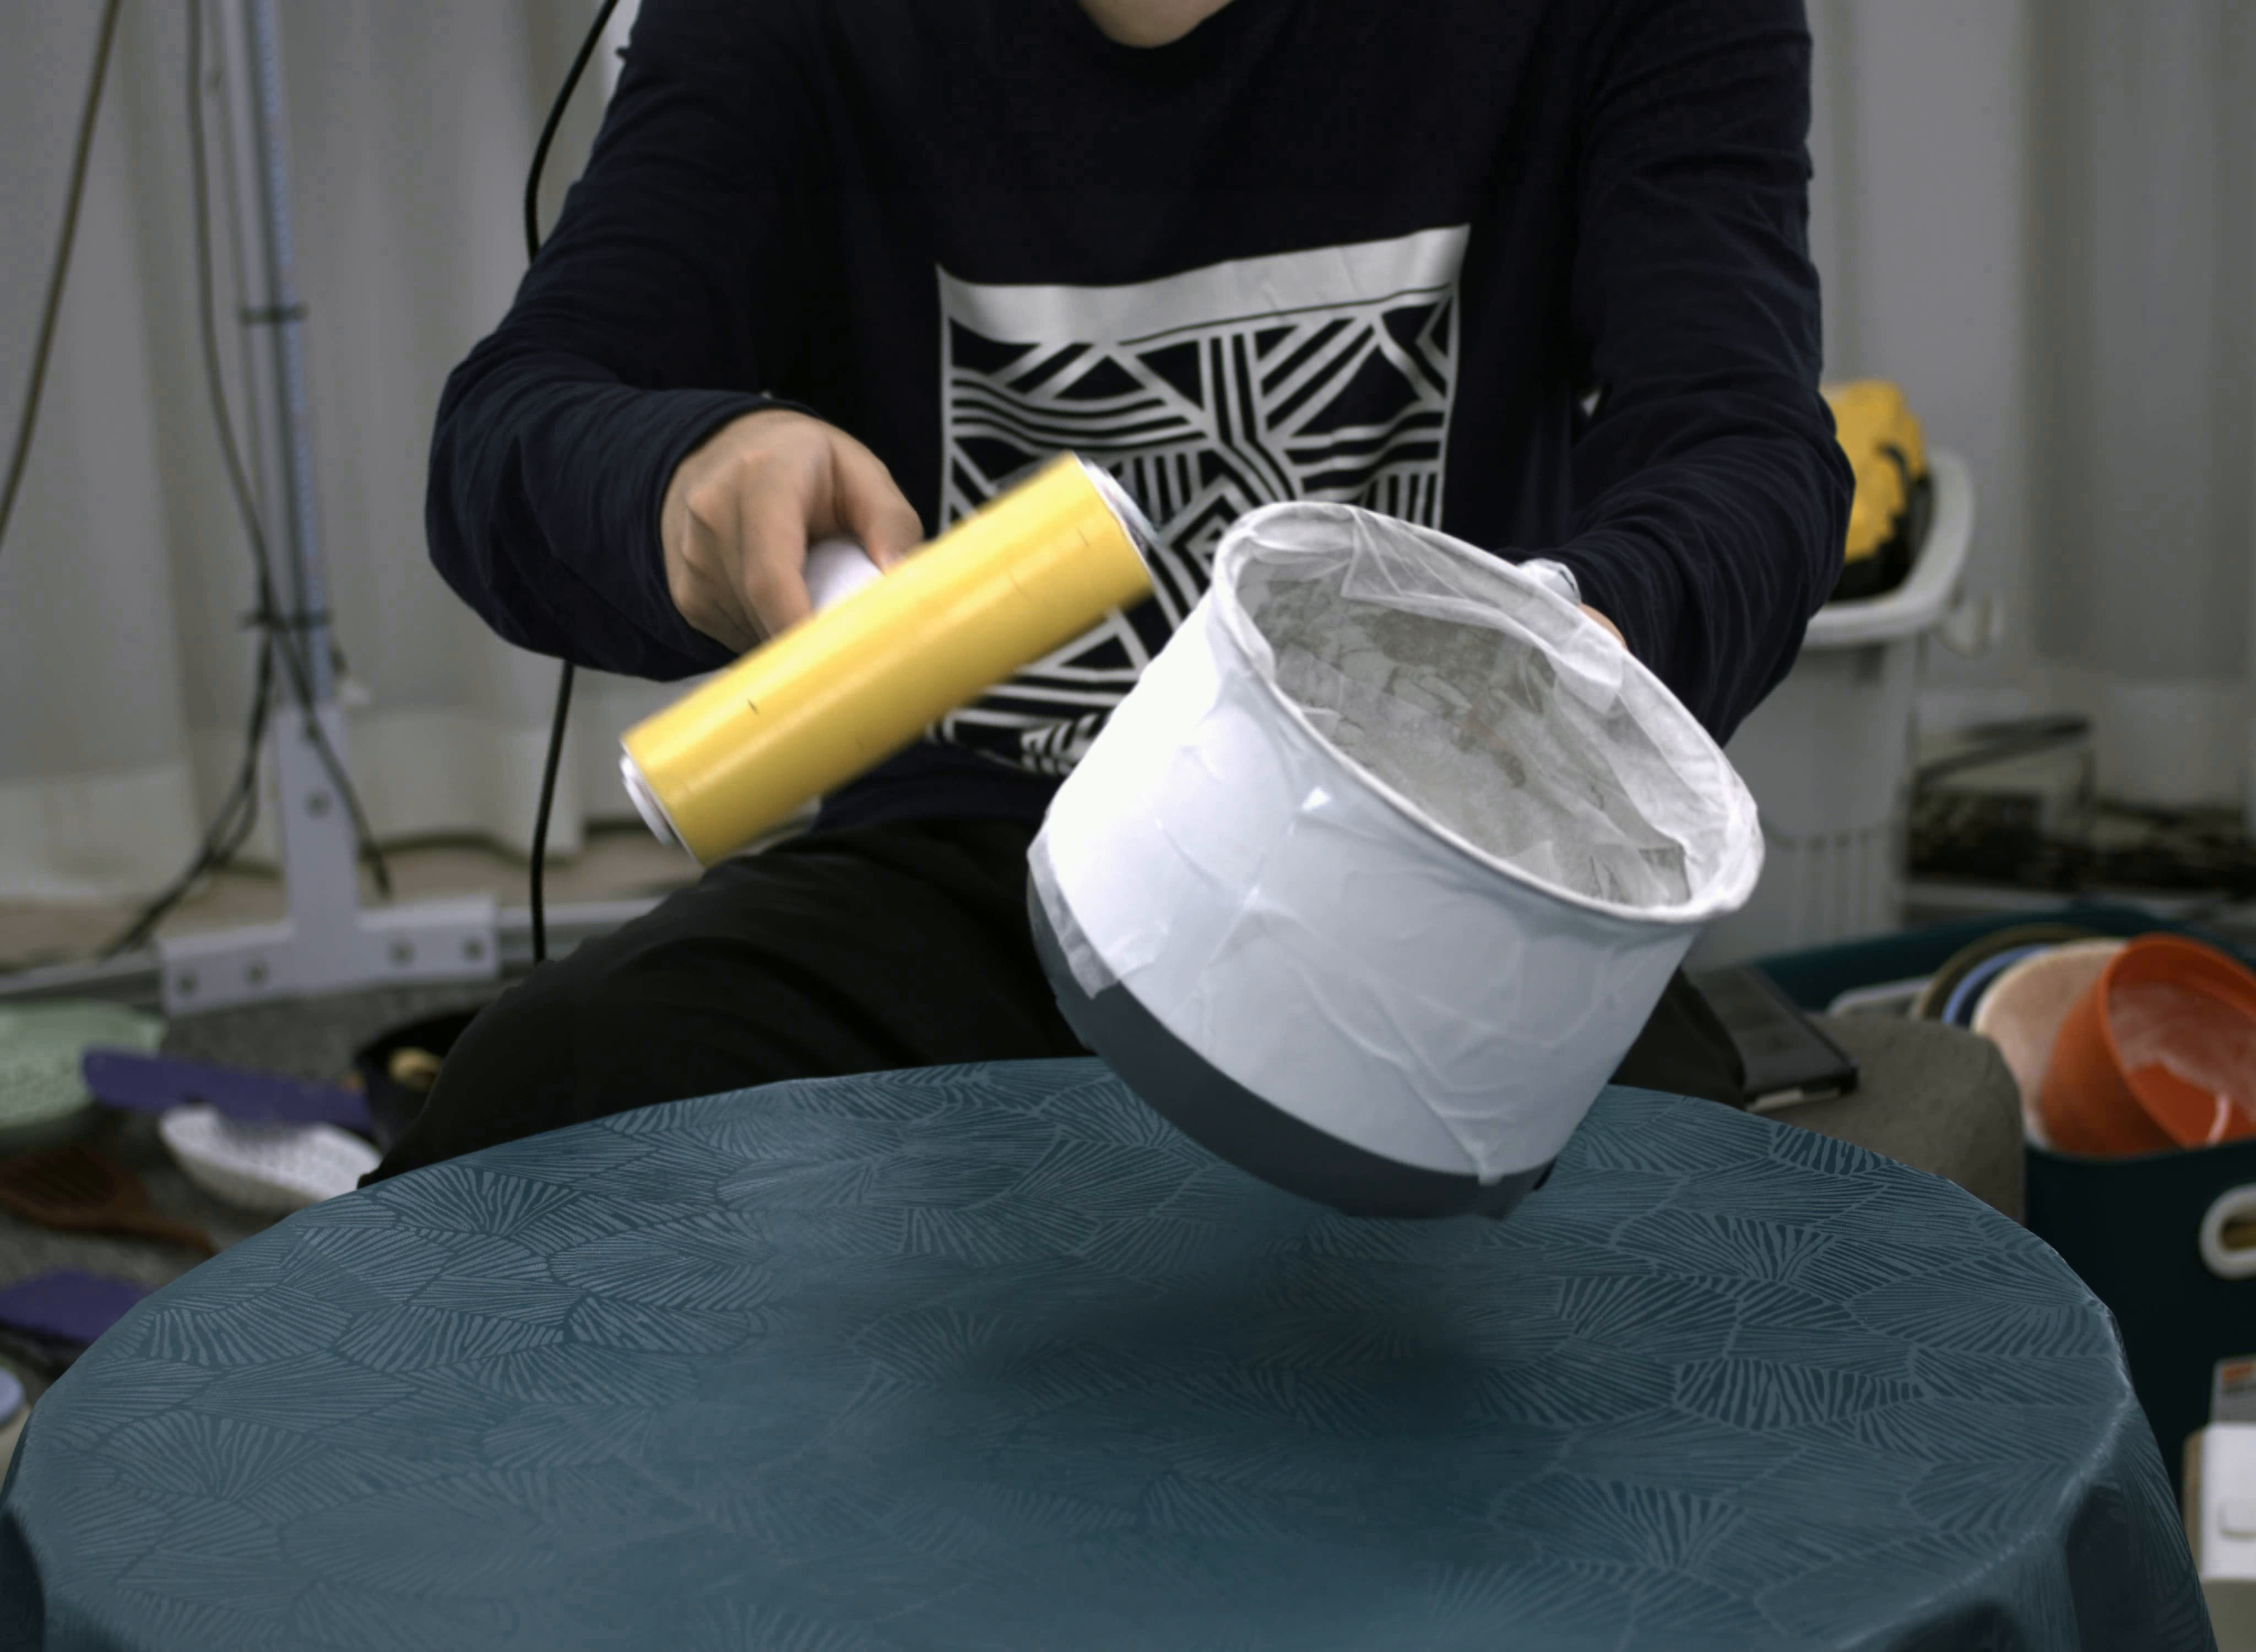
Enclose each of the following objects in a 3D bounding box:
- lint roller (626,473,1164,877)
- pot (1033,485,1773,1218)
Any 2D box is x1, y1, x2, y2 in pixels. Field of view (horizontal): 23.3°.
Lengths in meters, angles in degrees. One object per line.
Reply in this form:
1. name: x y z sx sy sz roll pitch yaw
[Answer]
1. lint roller: -0.092 -0.072 1.709 0.174 0.051 0.194 -32 30 -4
2. pot: 0.078 -0.001 1.562 0.178 0.135 0.236 34 29 -3
